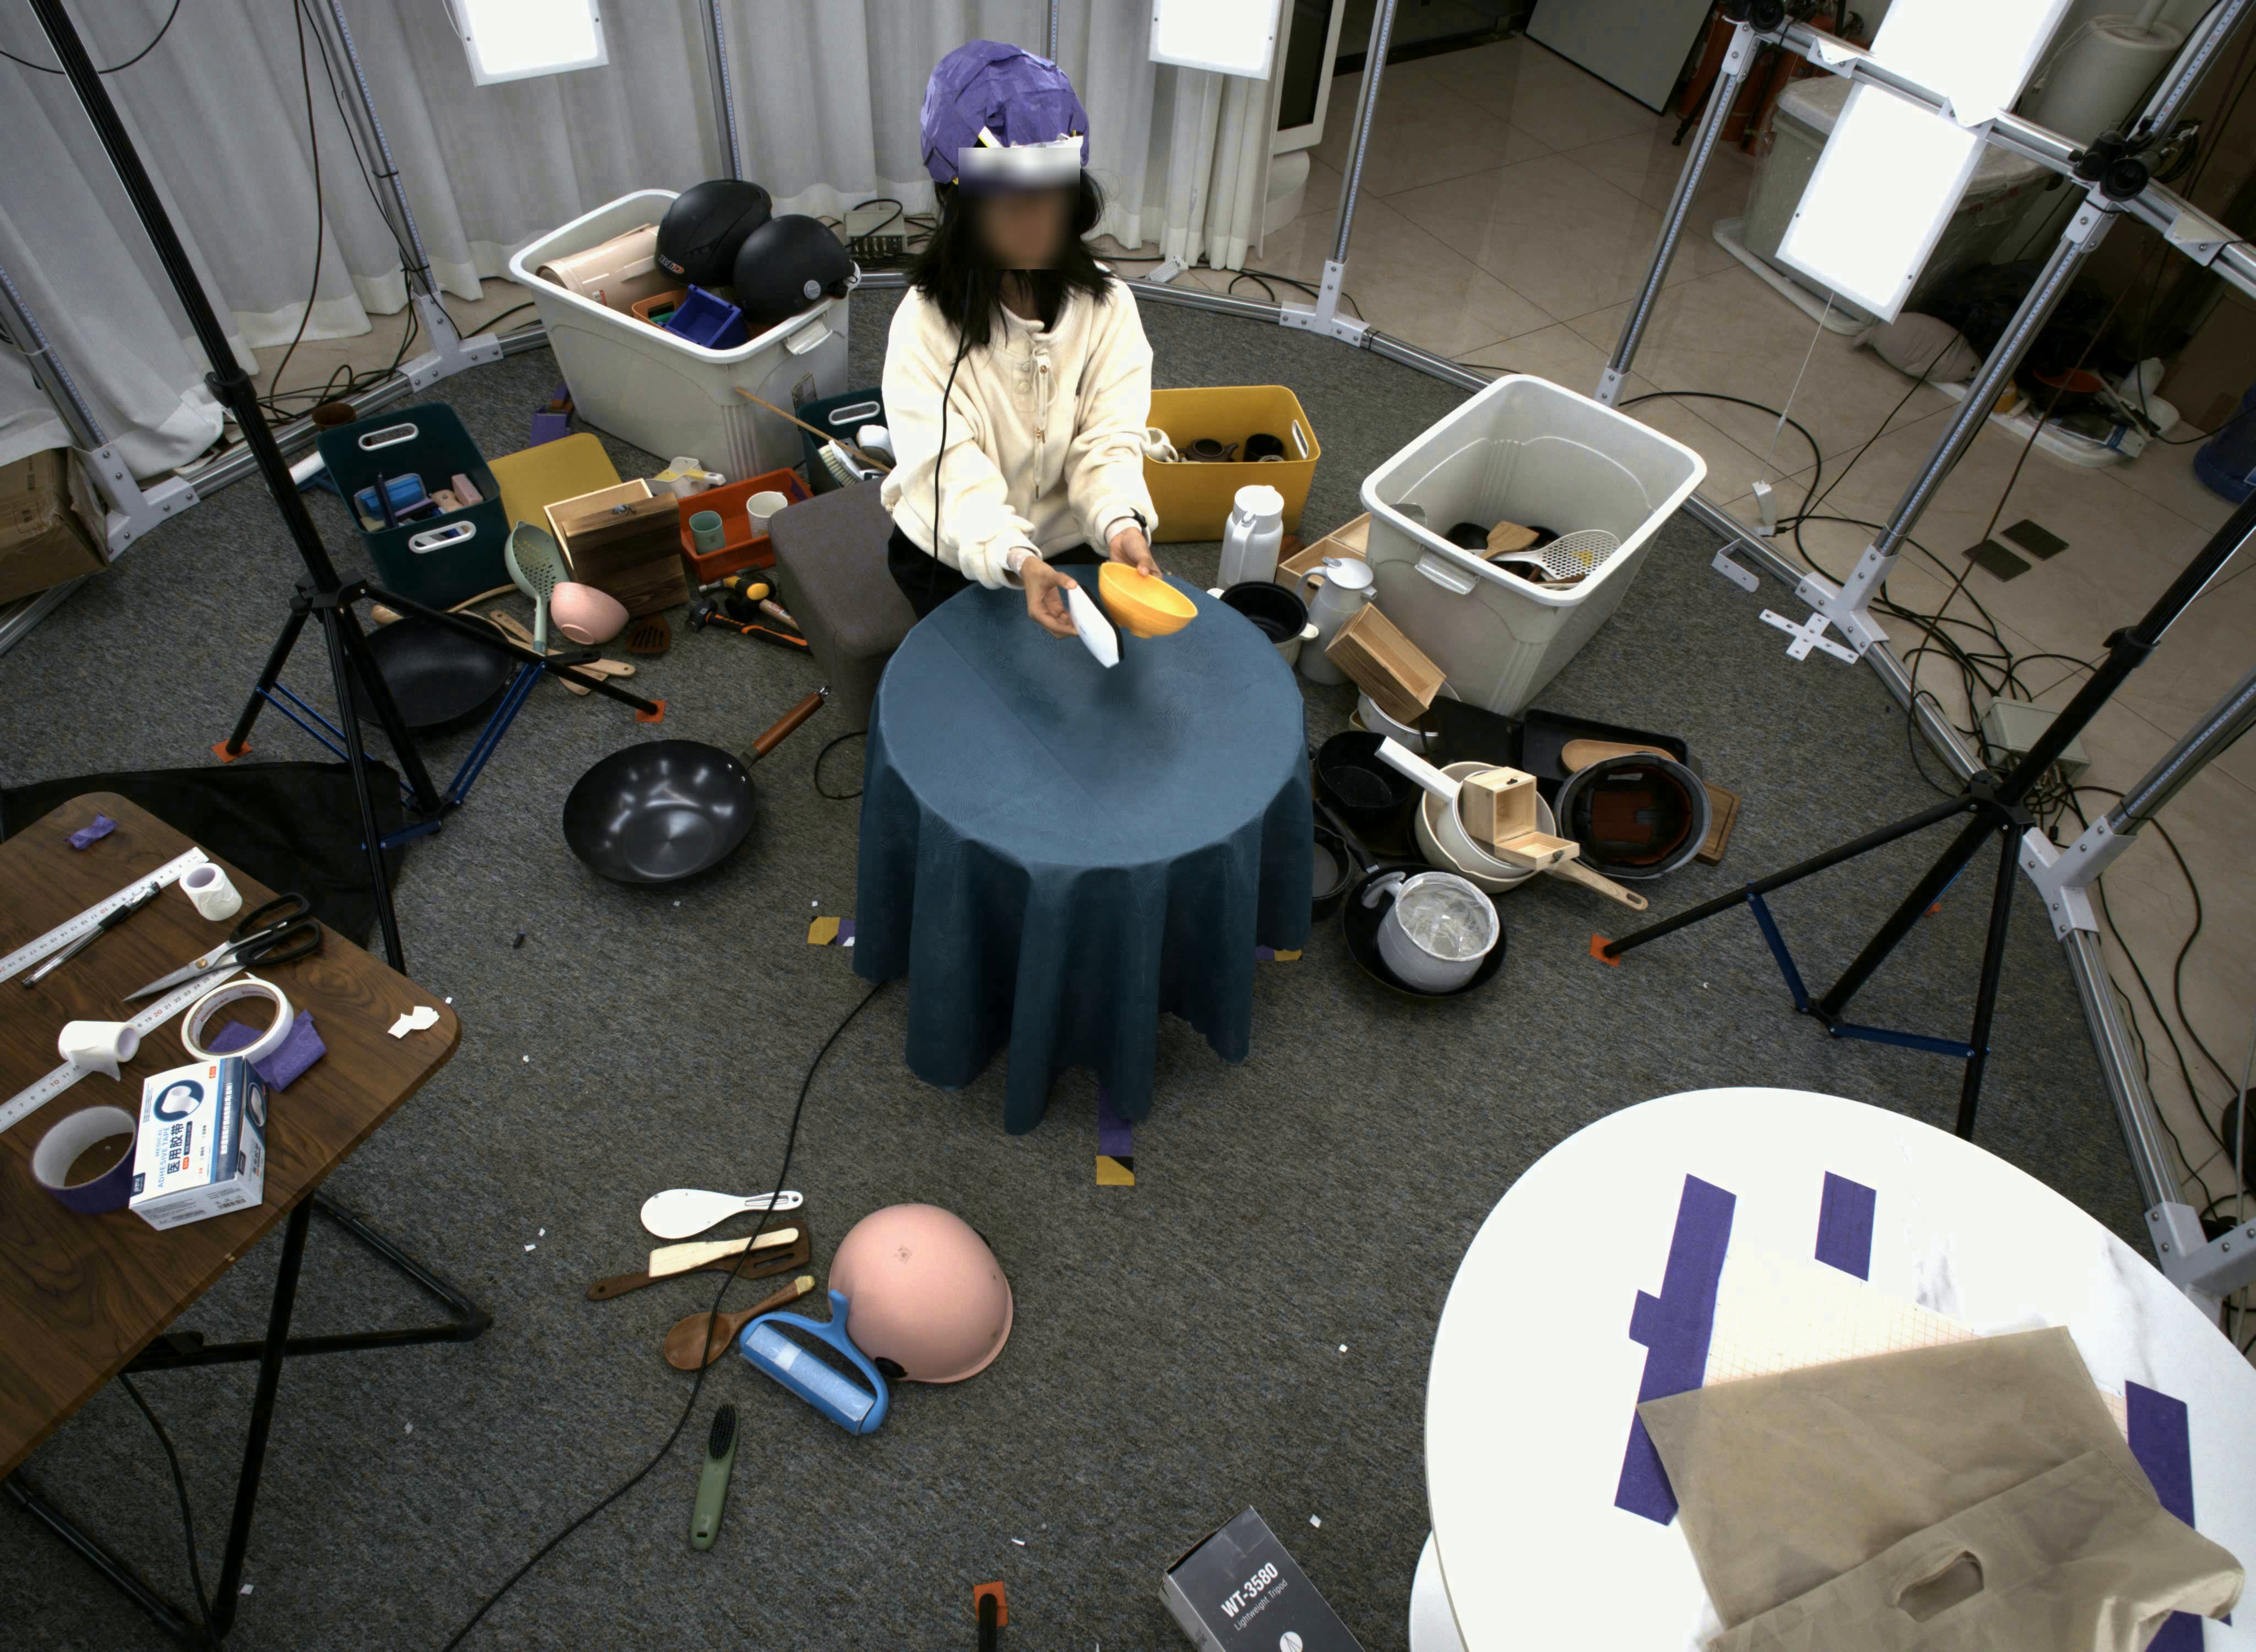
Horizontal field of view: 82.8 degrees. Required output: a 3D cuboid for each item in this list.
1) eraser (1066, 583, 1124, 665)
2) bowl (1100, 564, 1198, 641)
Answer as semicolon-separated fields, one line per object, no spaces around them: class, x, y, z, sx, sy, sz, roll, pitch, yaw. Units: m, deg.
eraser;-0.047;-0.271;1.704;0.034;0.062;0.134;-21;47;-16
bowl;0.019;-0.294;1.745;0.144;0.059;0.148;22;27;-12
